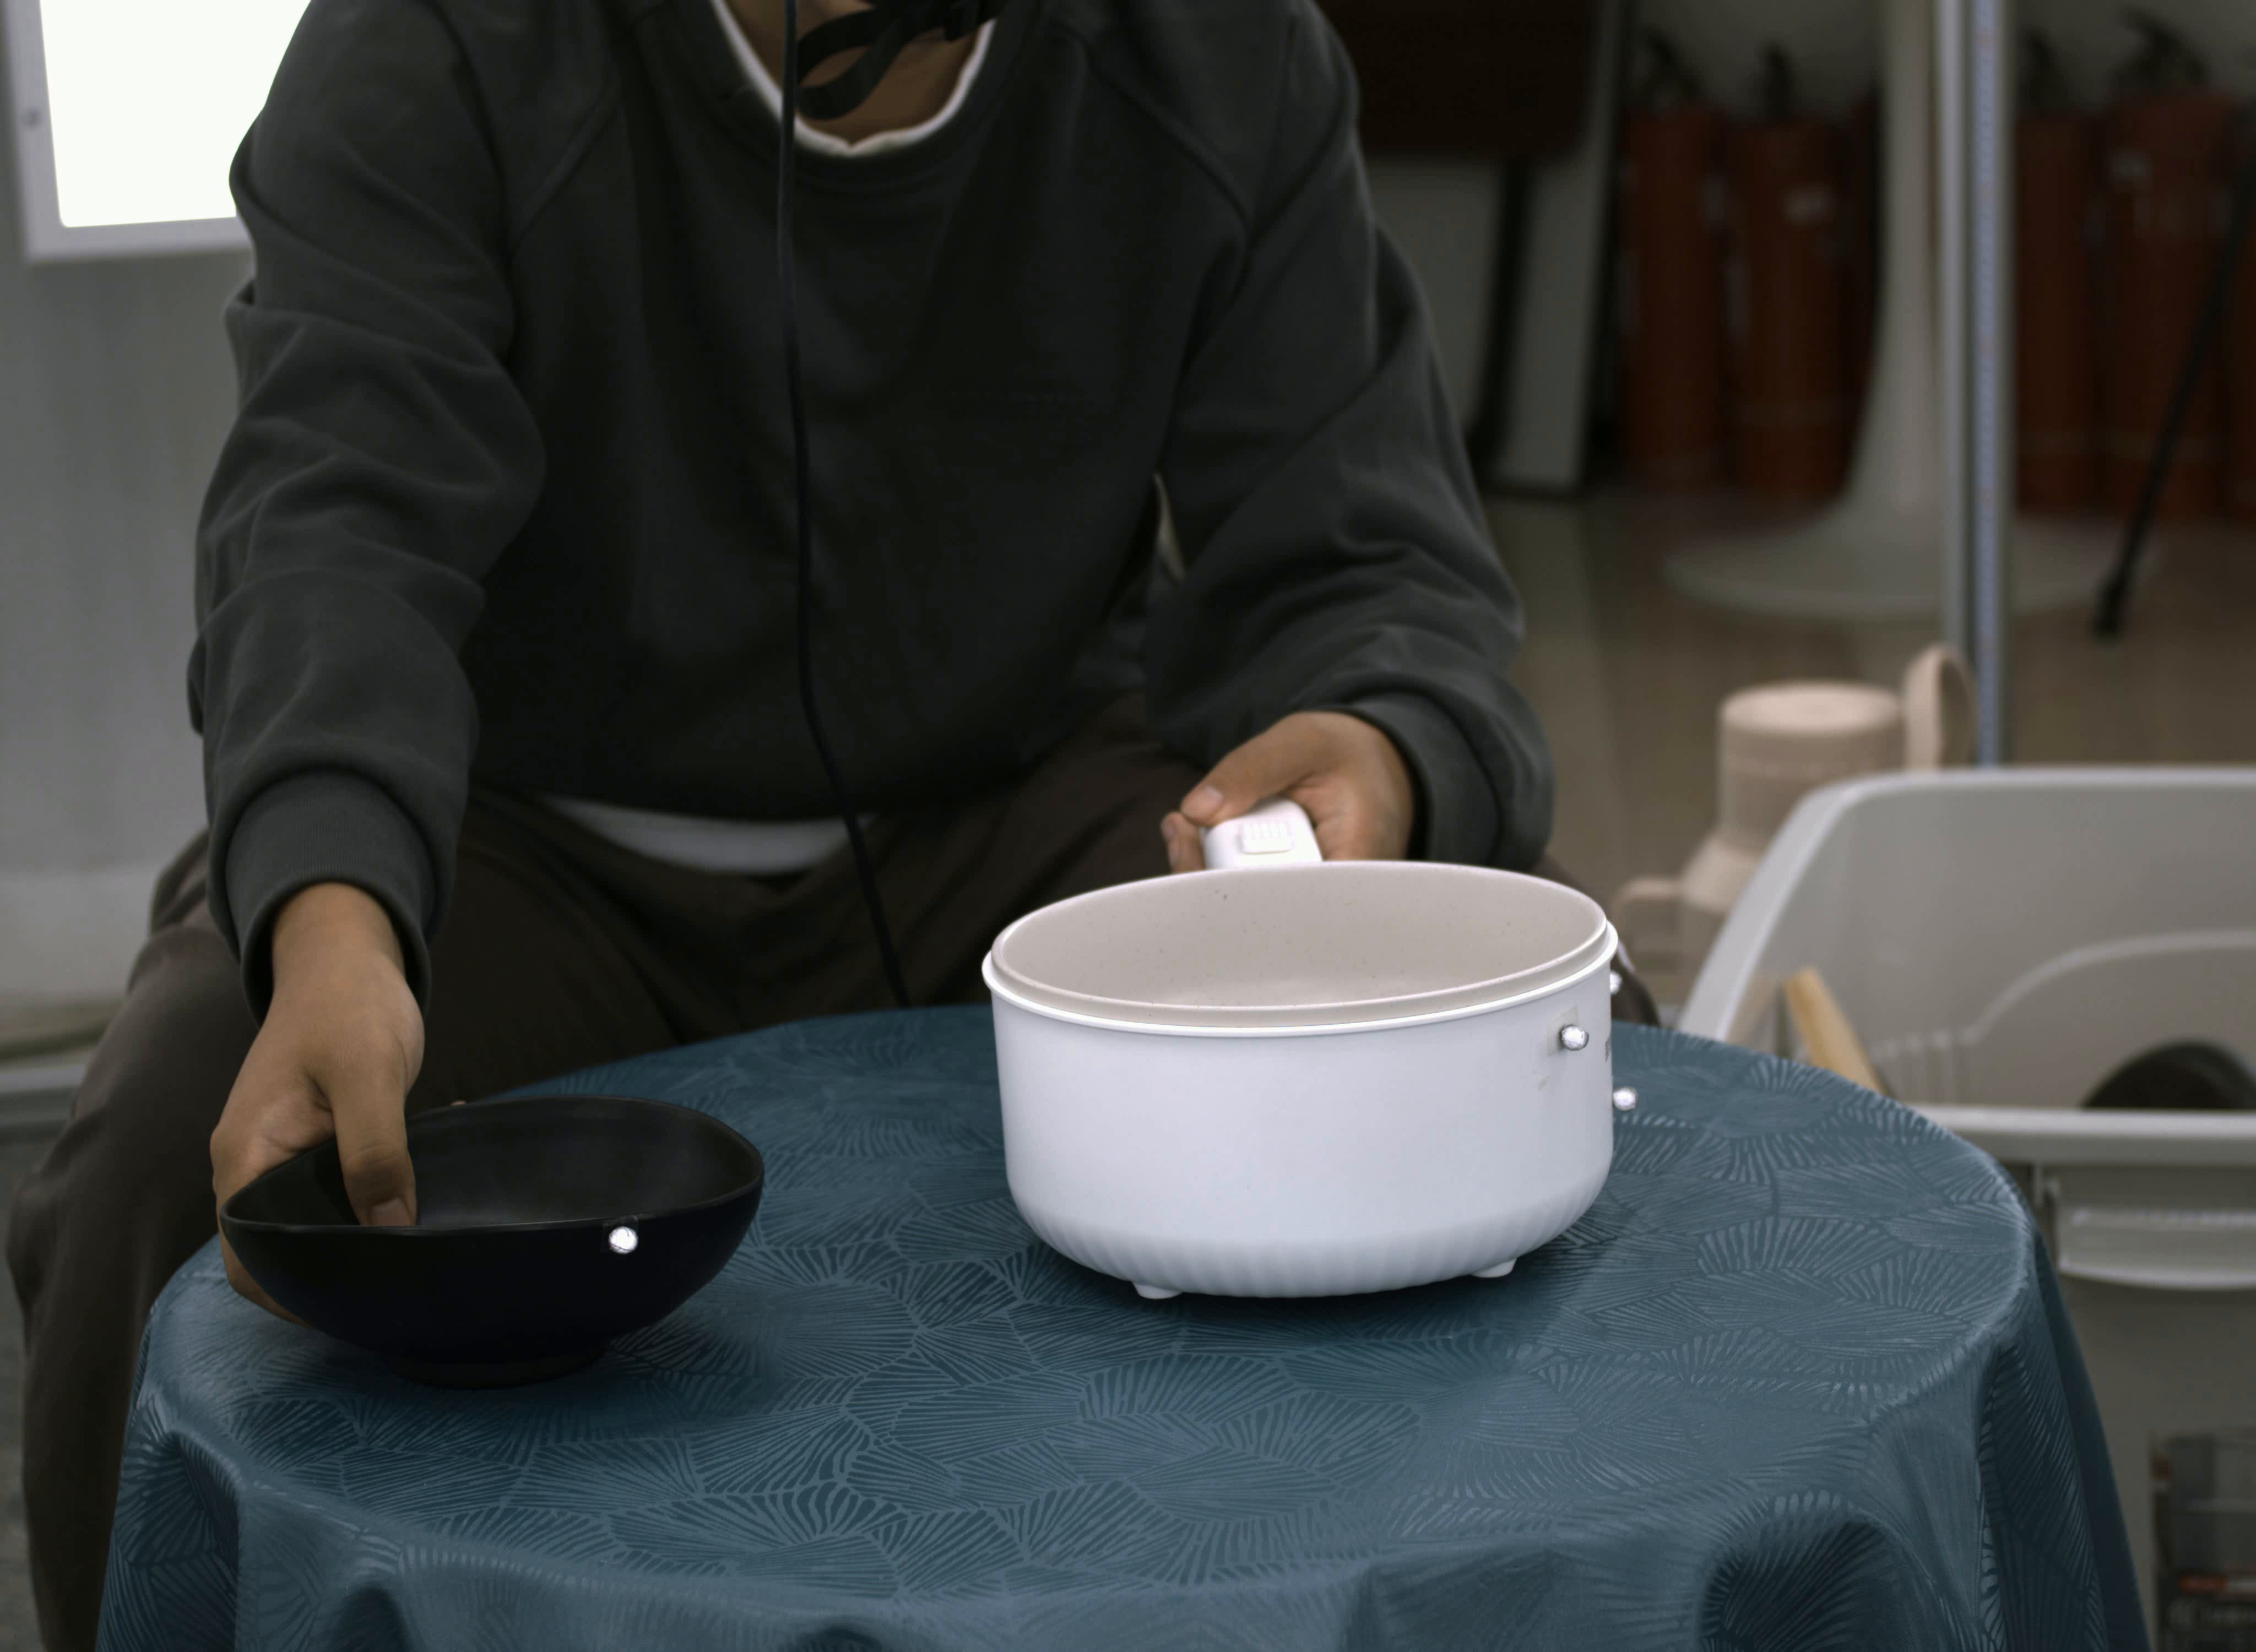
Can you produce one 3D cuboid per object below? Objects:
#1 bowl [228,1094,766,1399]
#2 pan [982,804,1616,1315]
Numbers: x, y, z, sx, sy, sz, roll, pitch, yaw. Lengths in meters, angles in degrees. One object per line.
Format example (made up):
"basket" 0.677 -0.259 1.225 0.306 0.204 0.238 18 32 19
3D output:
"bowl" -0.191 0.133 1.645 0.169 0.067 0.137 -2 13 11
"pan" 0.054 0.071 1.778 0.198 0.103 0.355 -6 10 -1
